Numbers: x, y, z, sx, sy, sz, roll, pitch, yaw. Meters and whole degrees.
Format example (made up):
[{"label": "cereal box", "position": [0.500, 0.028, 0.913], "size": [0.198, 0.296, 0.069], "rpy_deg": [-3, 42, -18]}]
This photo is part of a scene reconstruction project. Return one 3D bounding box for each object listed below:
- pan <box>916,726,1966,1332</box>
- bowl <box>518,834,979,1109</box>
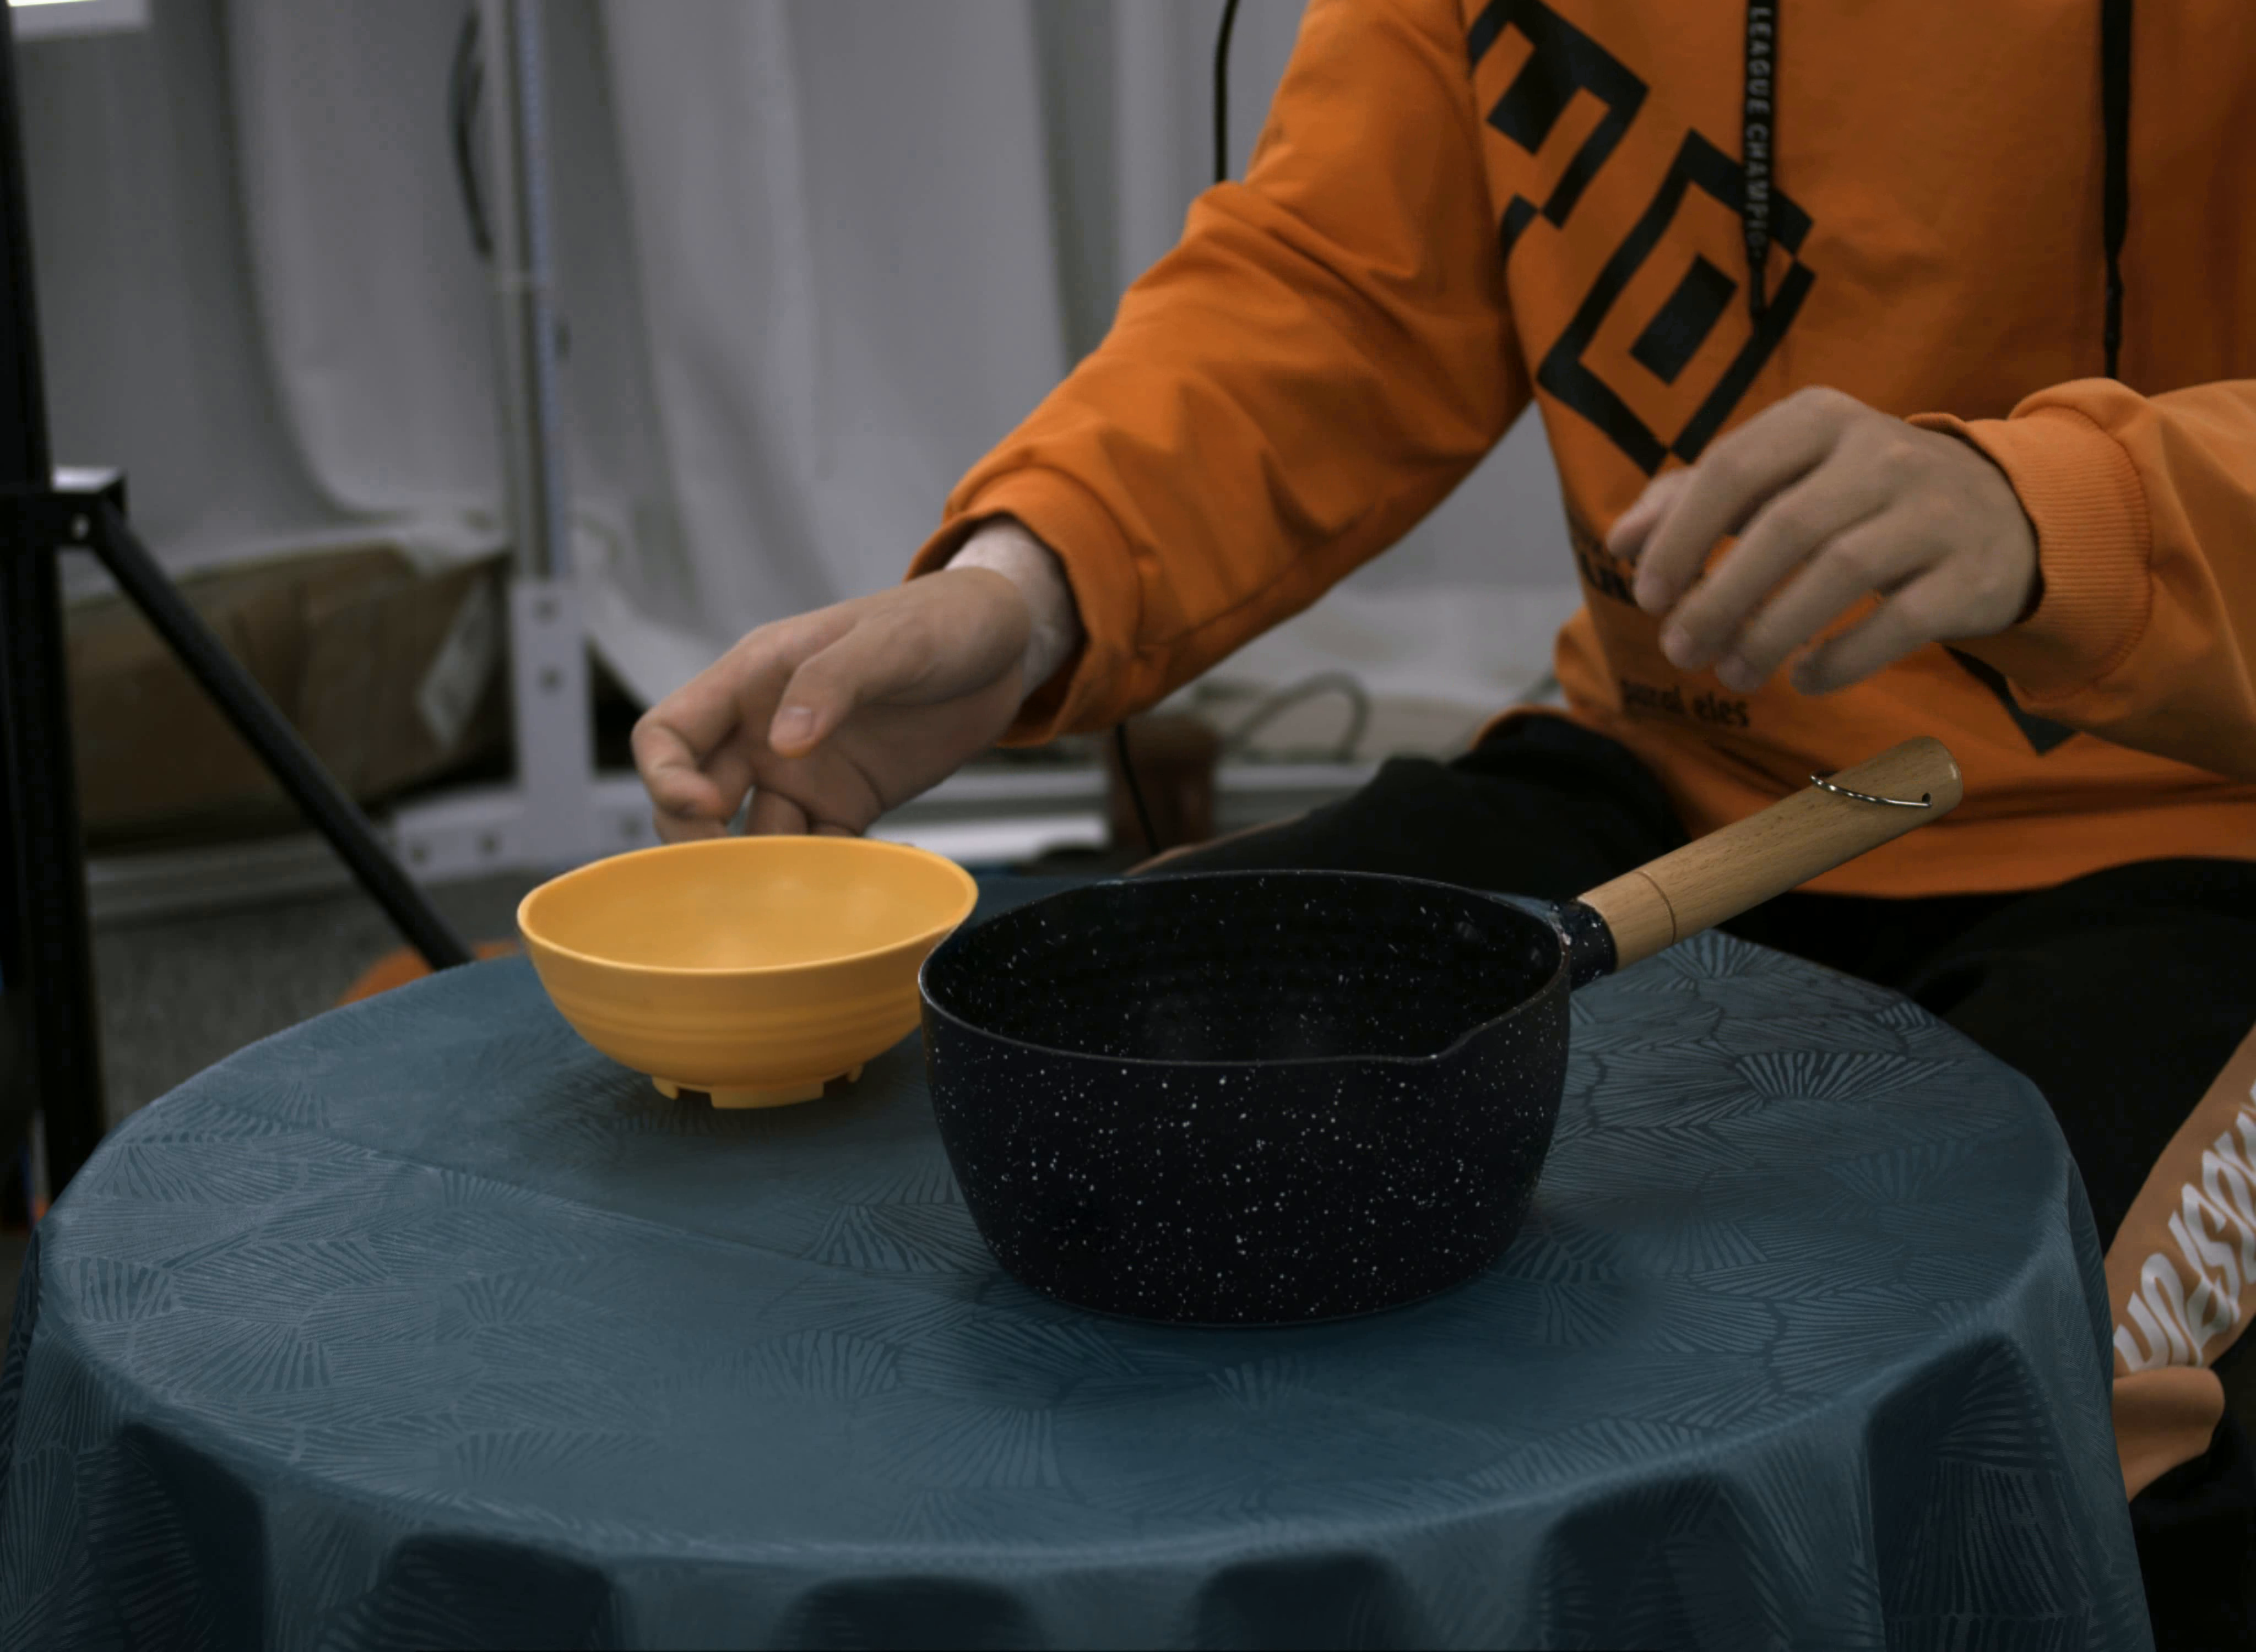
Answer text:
[{"label": "pan", "position": [0.102, 0.054, 1.535], "size": [0.335, 0.108, 0.212], "rpy_deg": [-13, 17, -27]}, {"label": "bowl", "position": [-0.118, 0.051, 1.674], "size": [0.144, 0.060, 0.146], "rpy_deg": [-2, 16, -1]}]
